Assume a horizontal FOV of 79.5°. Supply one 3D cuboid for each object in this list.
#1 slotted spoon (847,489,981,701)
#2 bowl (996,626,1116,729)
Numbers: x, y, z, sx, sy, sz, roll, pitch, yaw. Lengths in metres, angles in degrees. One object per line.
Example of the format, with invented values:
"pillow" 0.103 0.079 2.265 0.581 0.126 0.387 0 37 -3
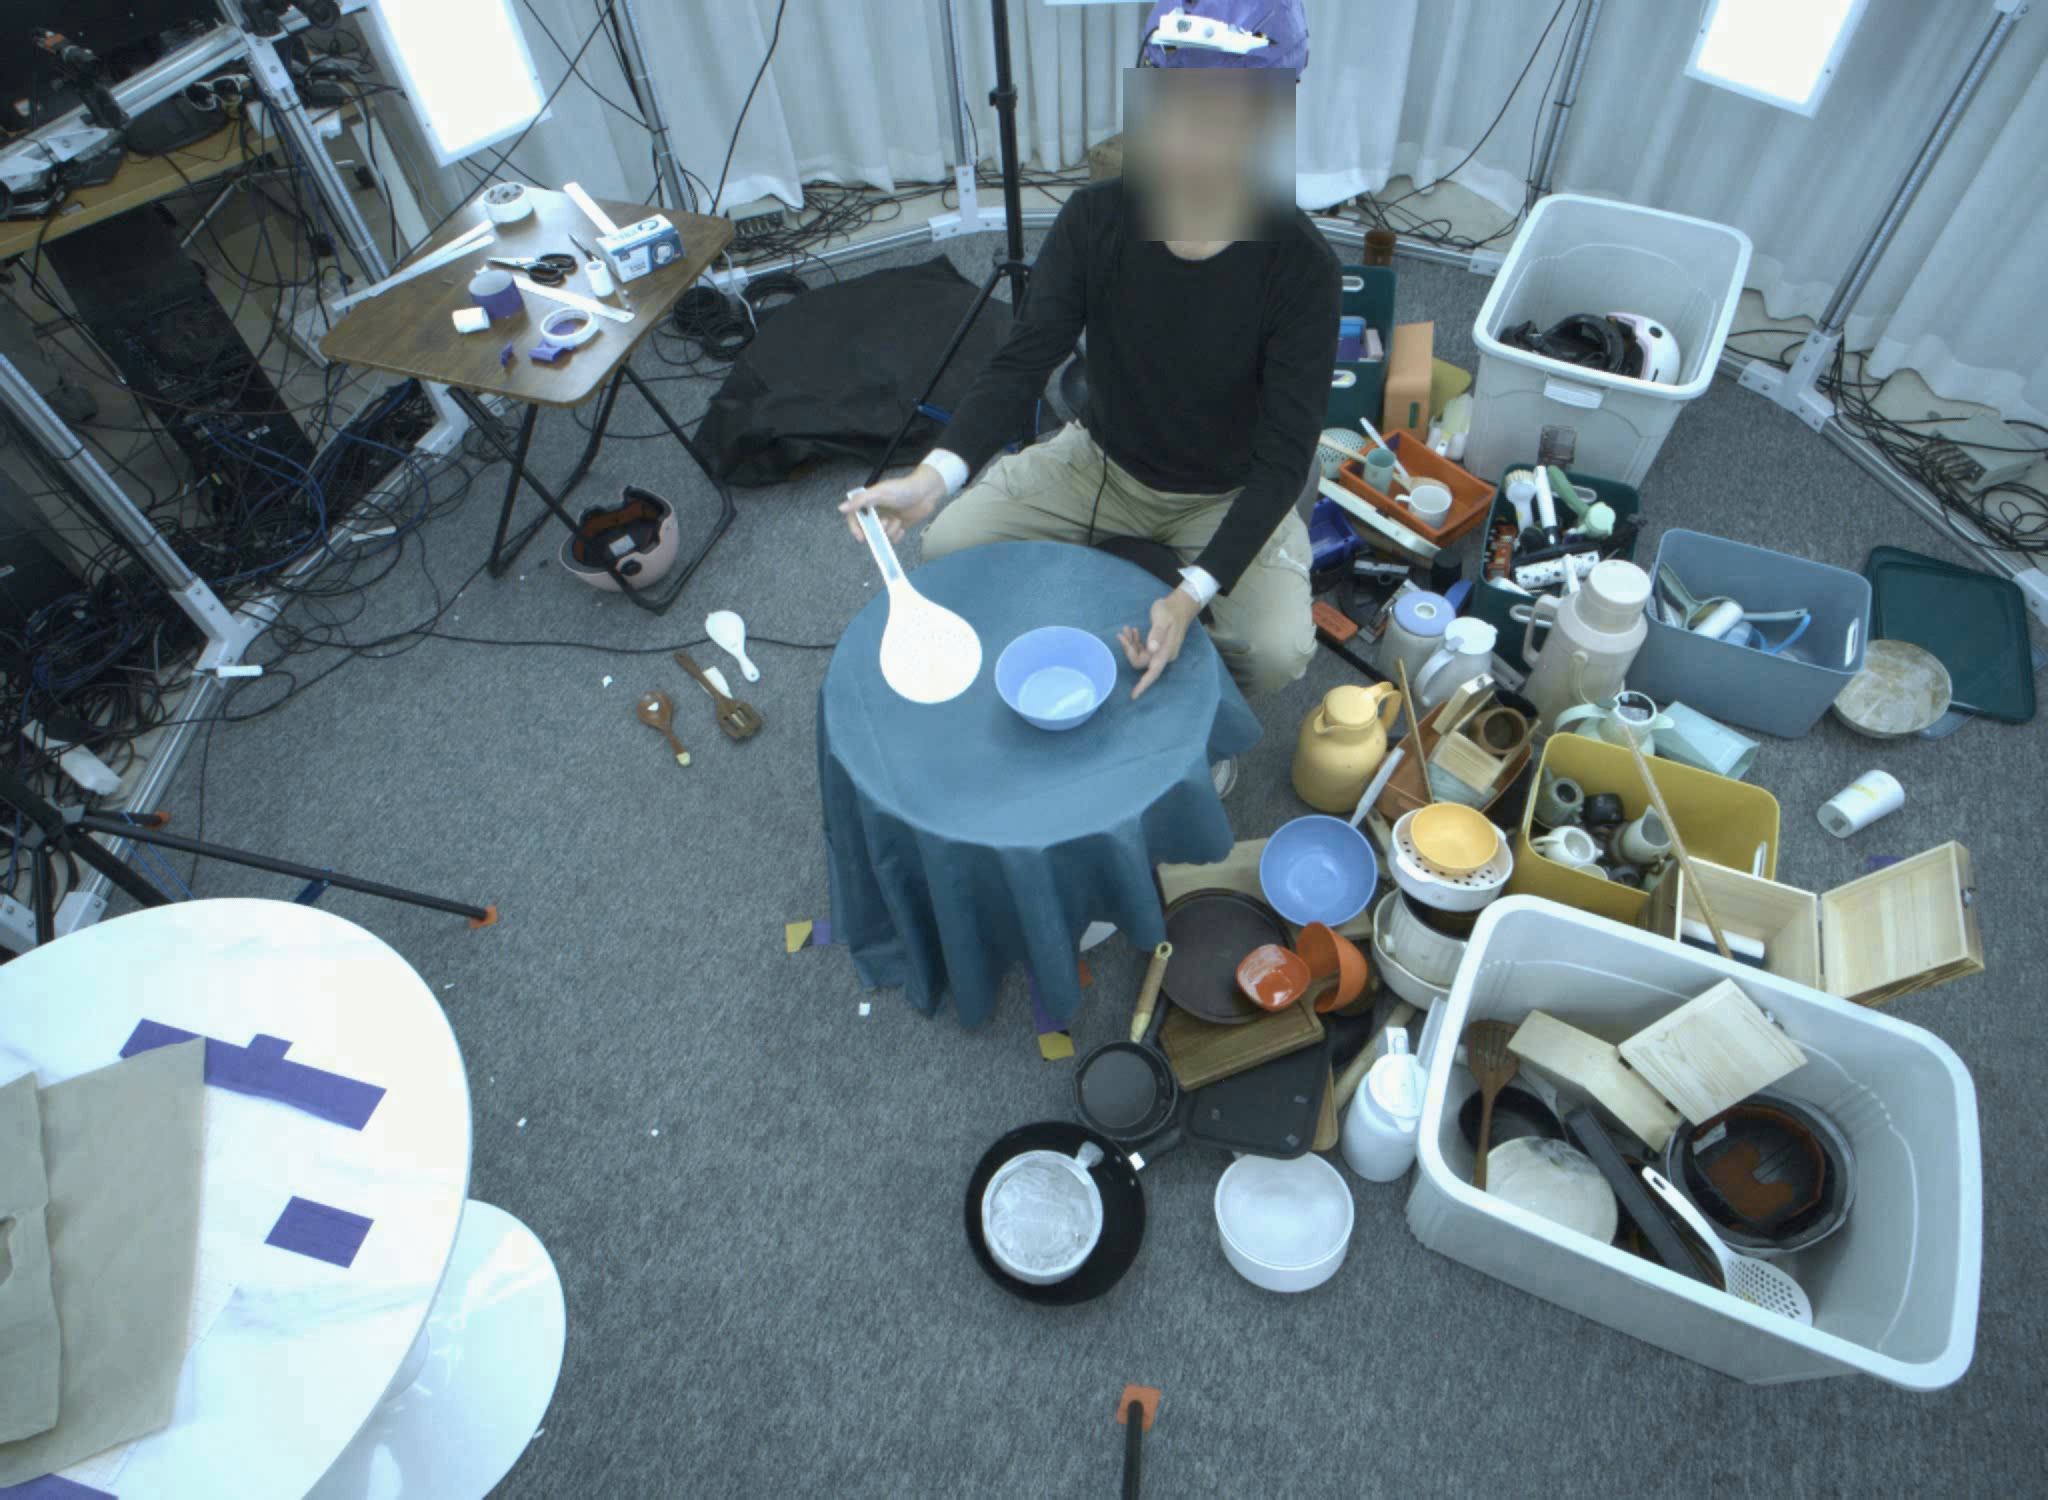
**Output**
"slotted spoon" -0.173 -0.221 1.698 0.136 0.046 0.347 -25 80 -8
"bowl" 0.047 -0.097 1.810 0.176 0.071 0.174 0 54 1
